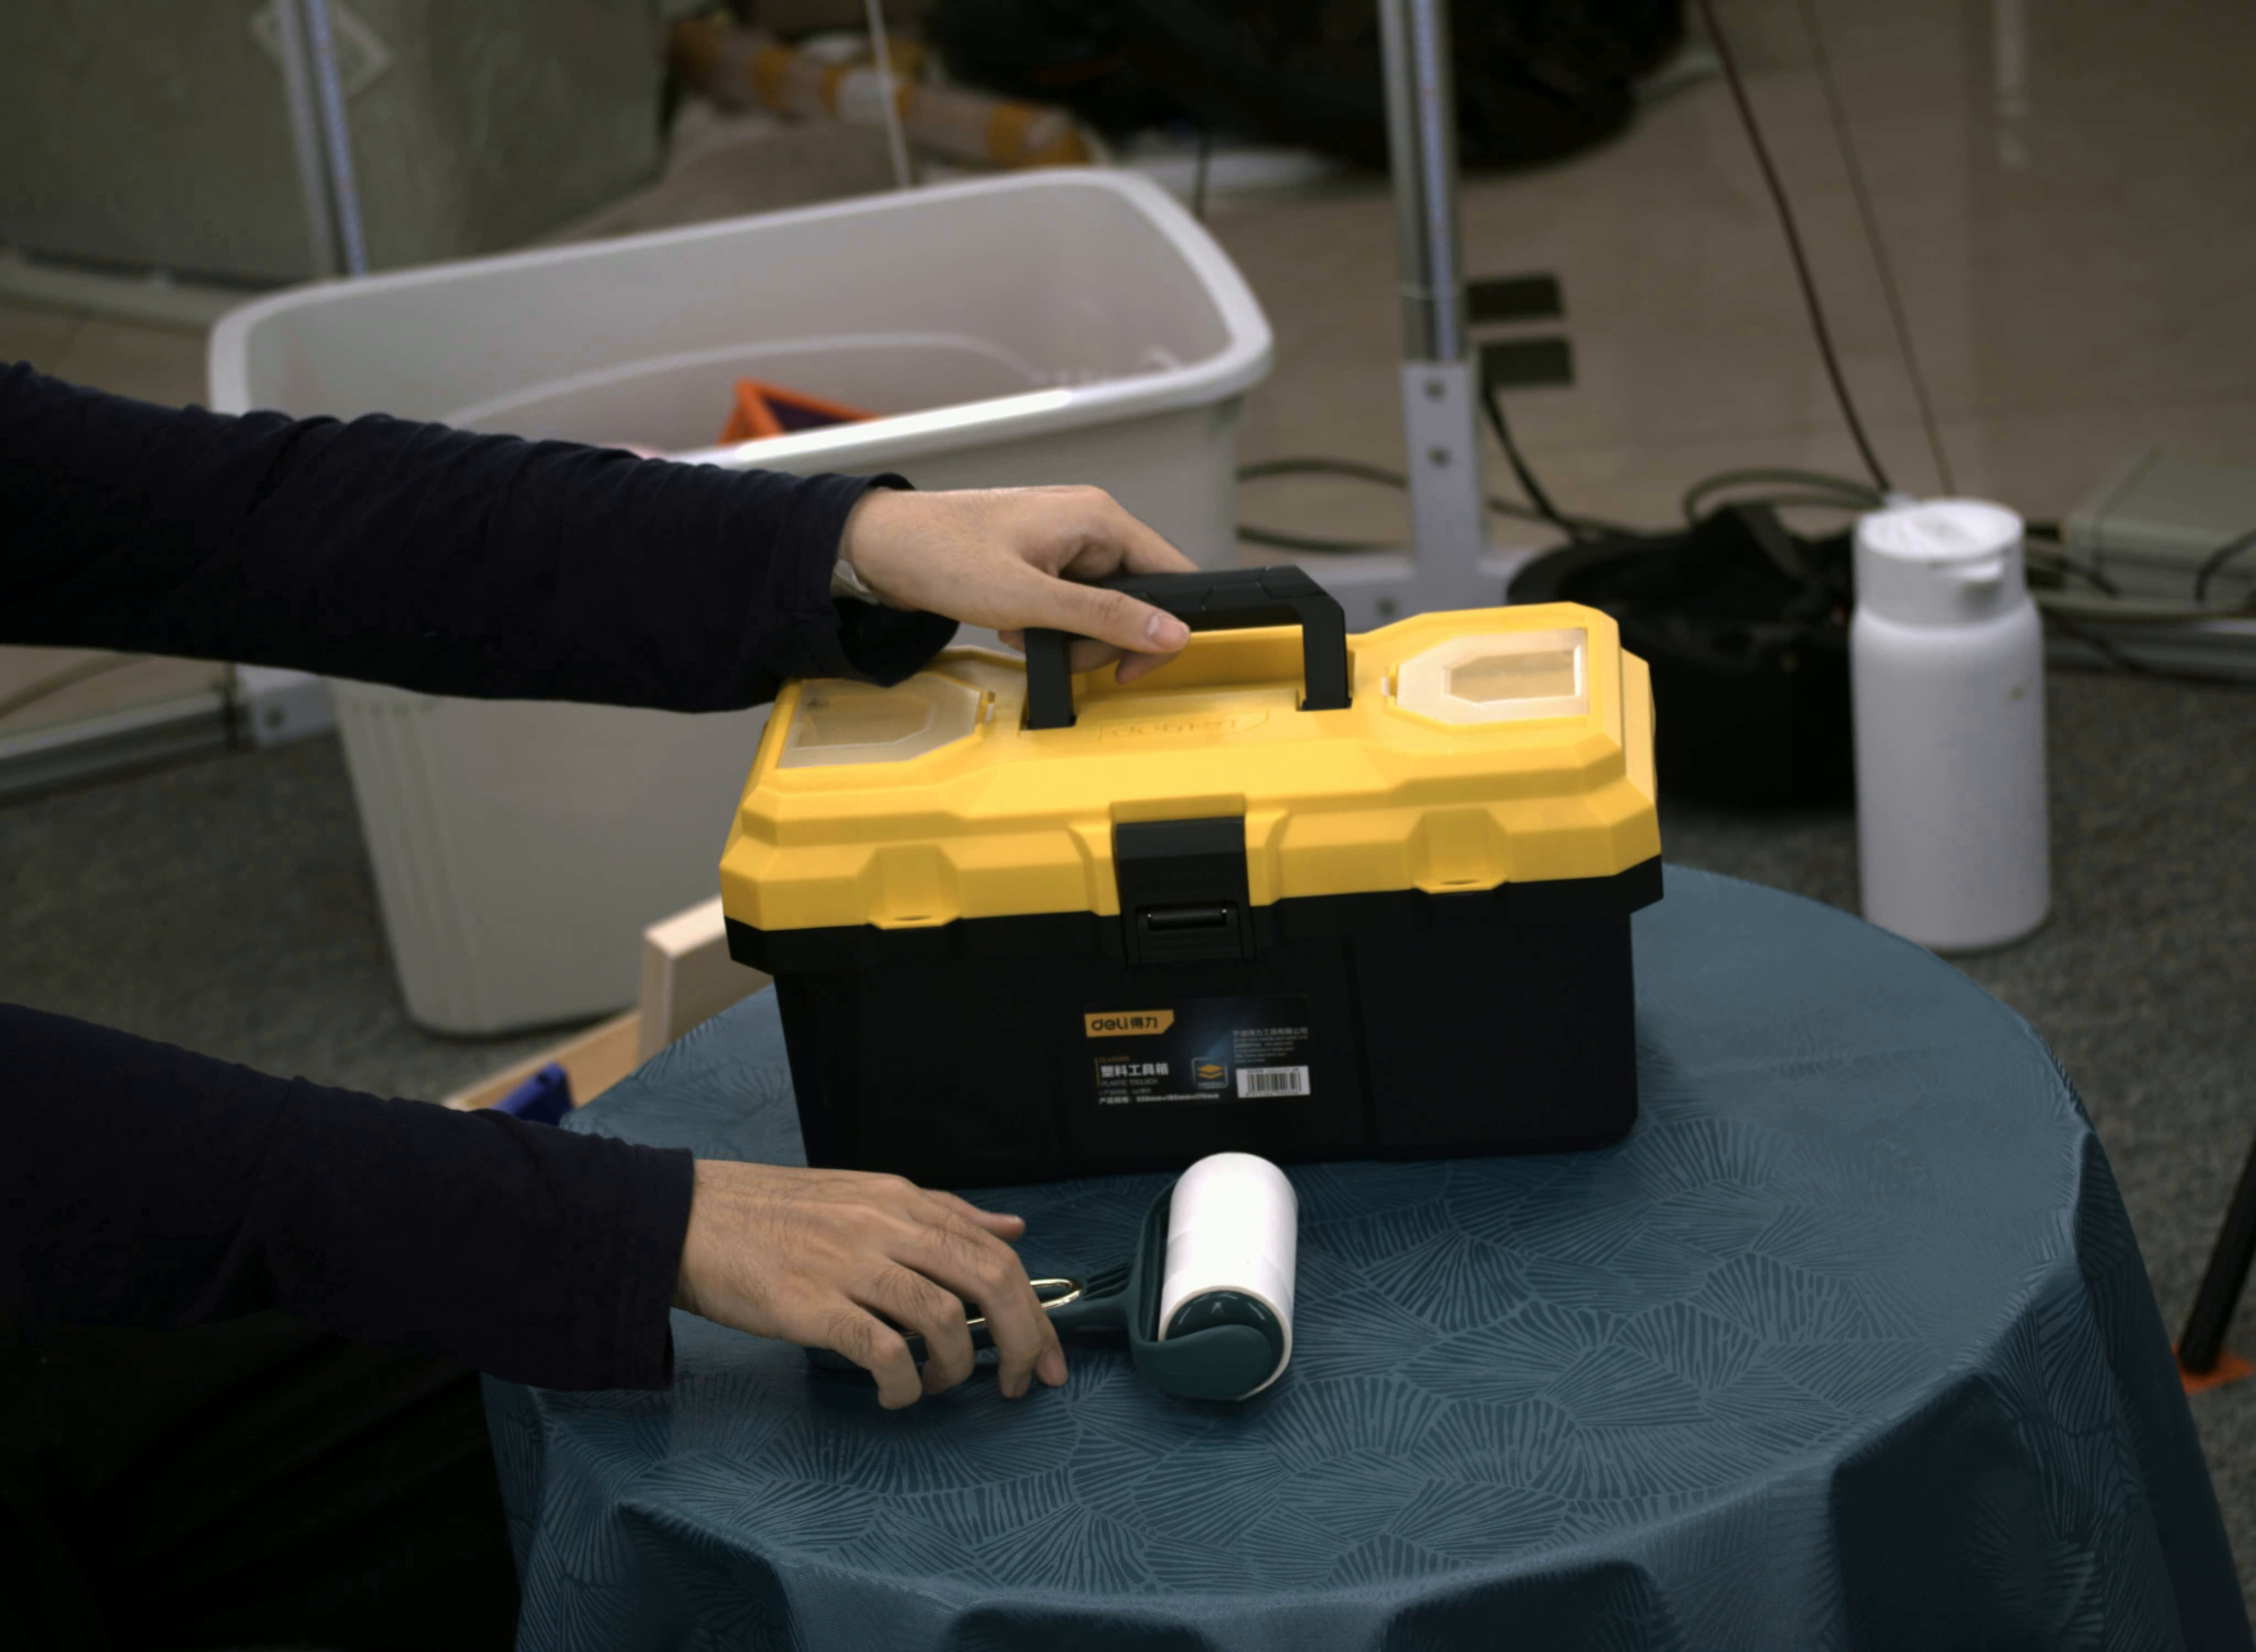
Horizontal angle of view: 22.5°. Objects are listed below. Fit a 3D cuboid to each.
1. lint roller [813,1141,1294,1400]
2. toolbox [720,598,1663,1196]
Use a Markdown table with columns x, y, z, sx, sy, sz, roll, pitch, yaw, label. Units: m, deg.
| x | y | z | sx | sy | sz | roll | pitch | yaw | label |
| --- | --- | --- | --- | --- | --- | --- | --- | --- | --- |
| -0.030 | 0.170 | 2.046 | 0.180 | 0.049 | 0.132 | -8 | 26 | 7 | lint roller |
| 0.030 | 0.029 | 2.172 | 0.351 | 0.175 | 0.178 | -4 | 25 | 6 | toolbox |
